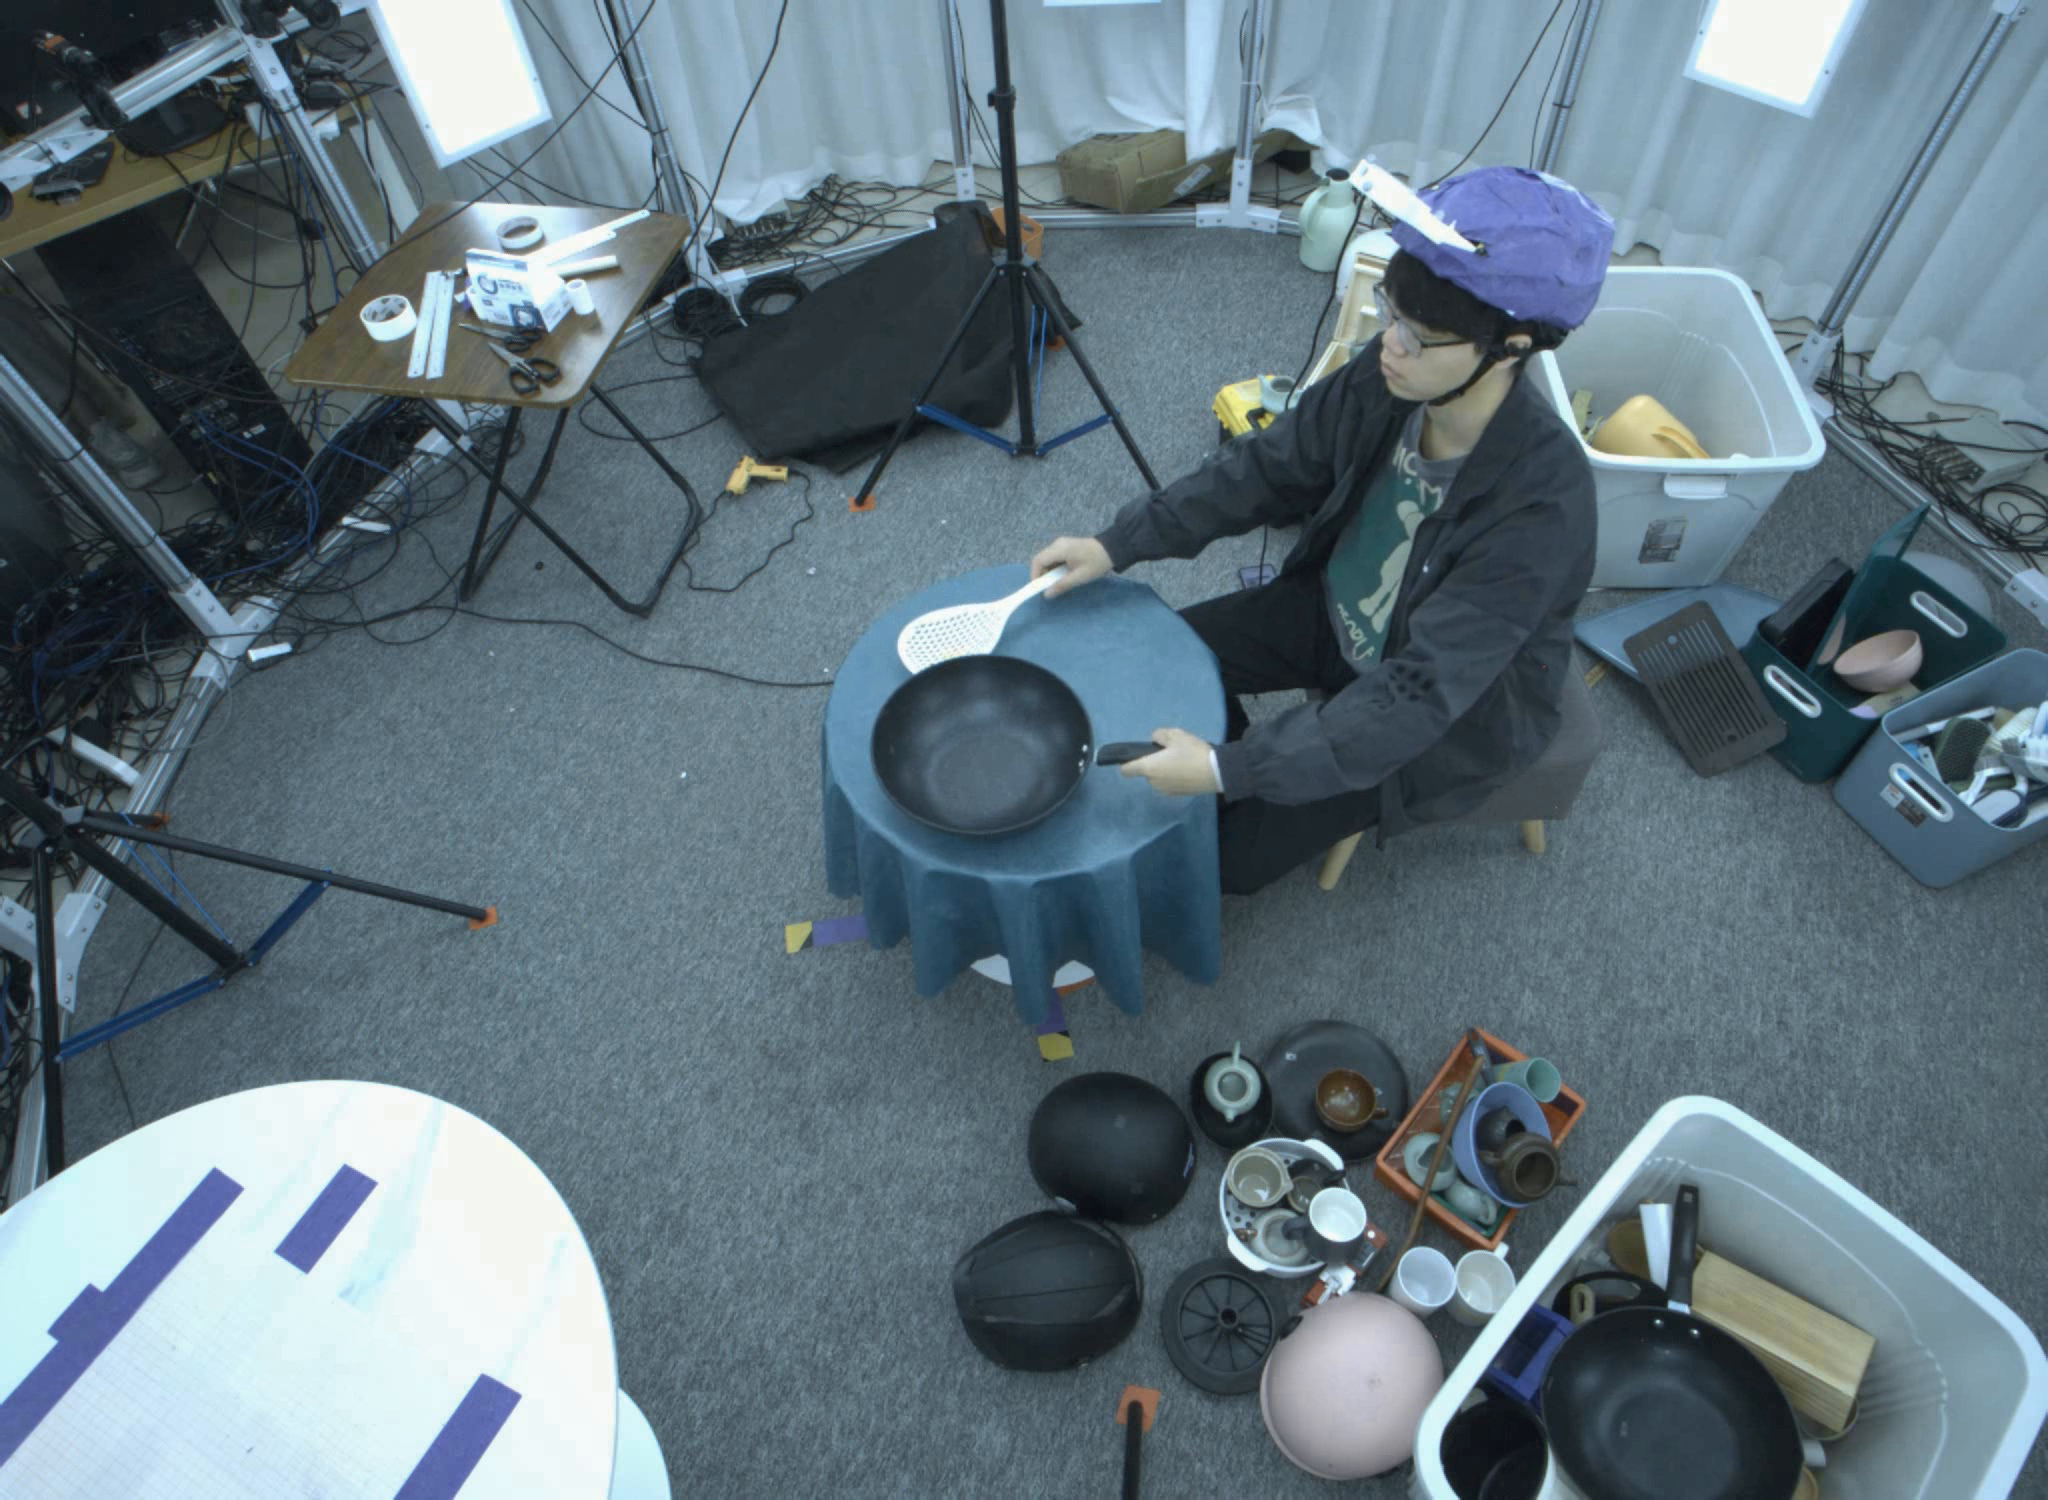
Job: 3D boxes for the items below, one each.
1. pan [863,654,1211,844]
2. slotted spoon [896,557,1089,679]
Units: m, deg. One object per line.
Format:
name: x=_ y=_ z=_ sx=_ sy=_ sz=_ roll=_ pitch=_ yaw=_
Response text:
pan: x=0.017 y=0.012 z=1.705 sx=0.475 sy=0.113 sz=0.308 roll=5 pitch=57 yaw=4
slotted spoon: x=-0.036 y=-0.212 z=1.890 sx=0.350 sy=0.051 sz=0.134 roll=-36 pitch=62 yaw=-14
